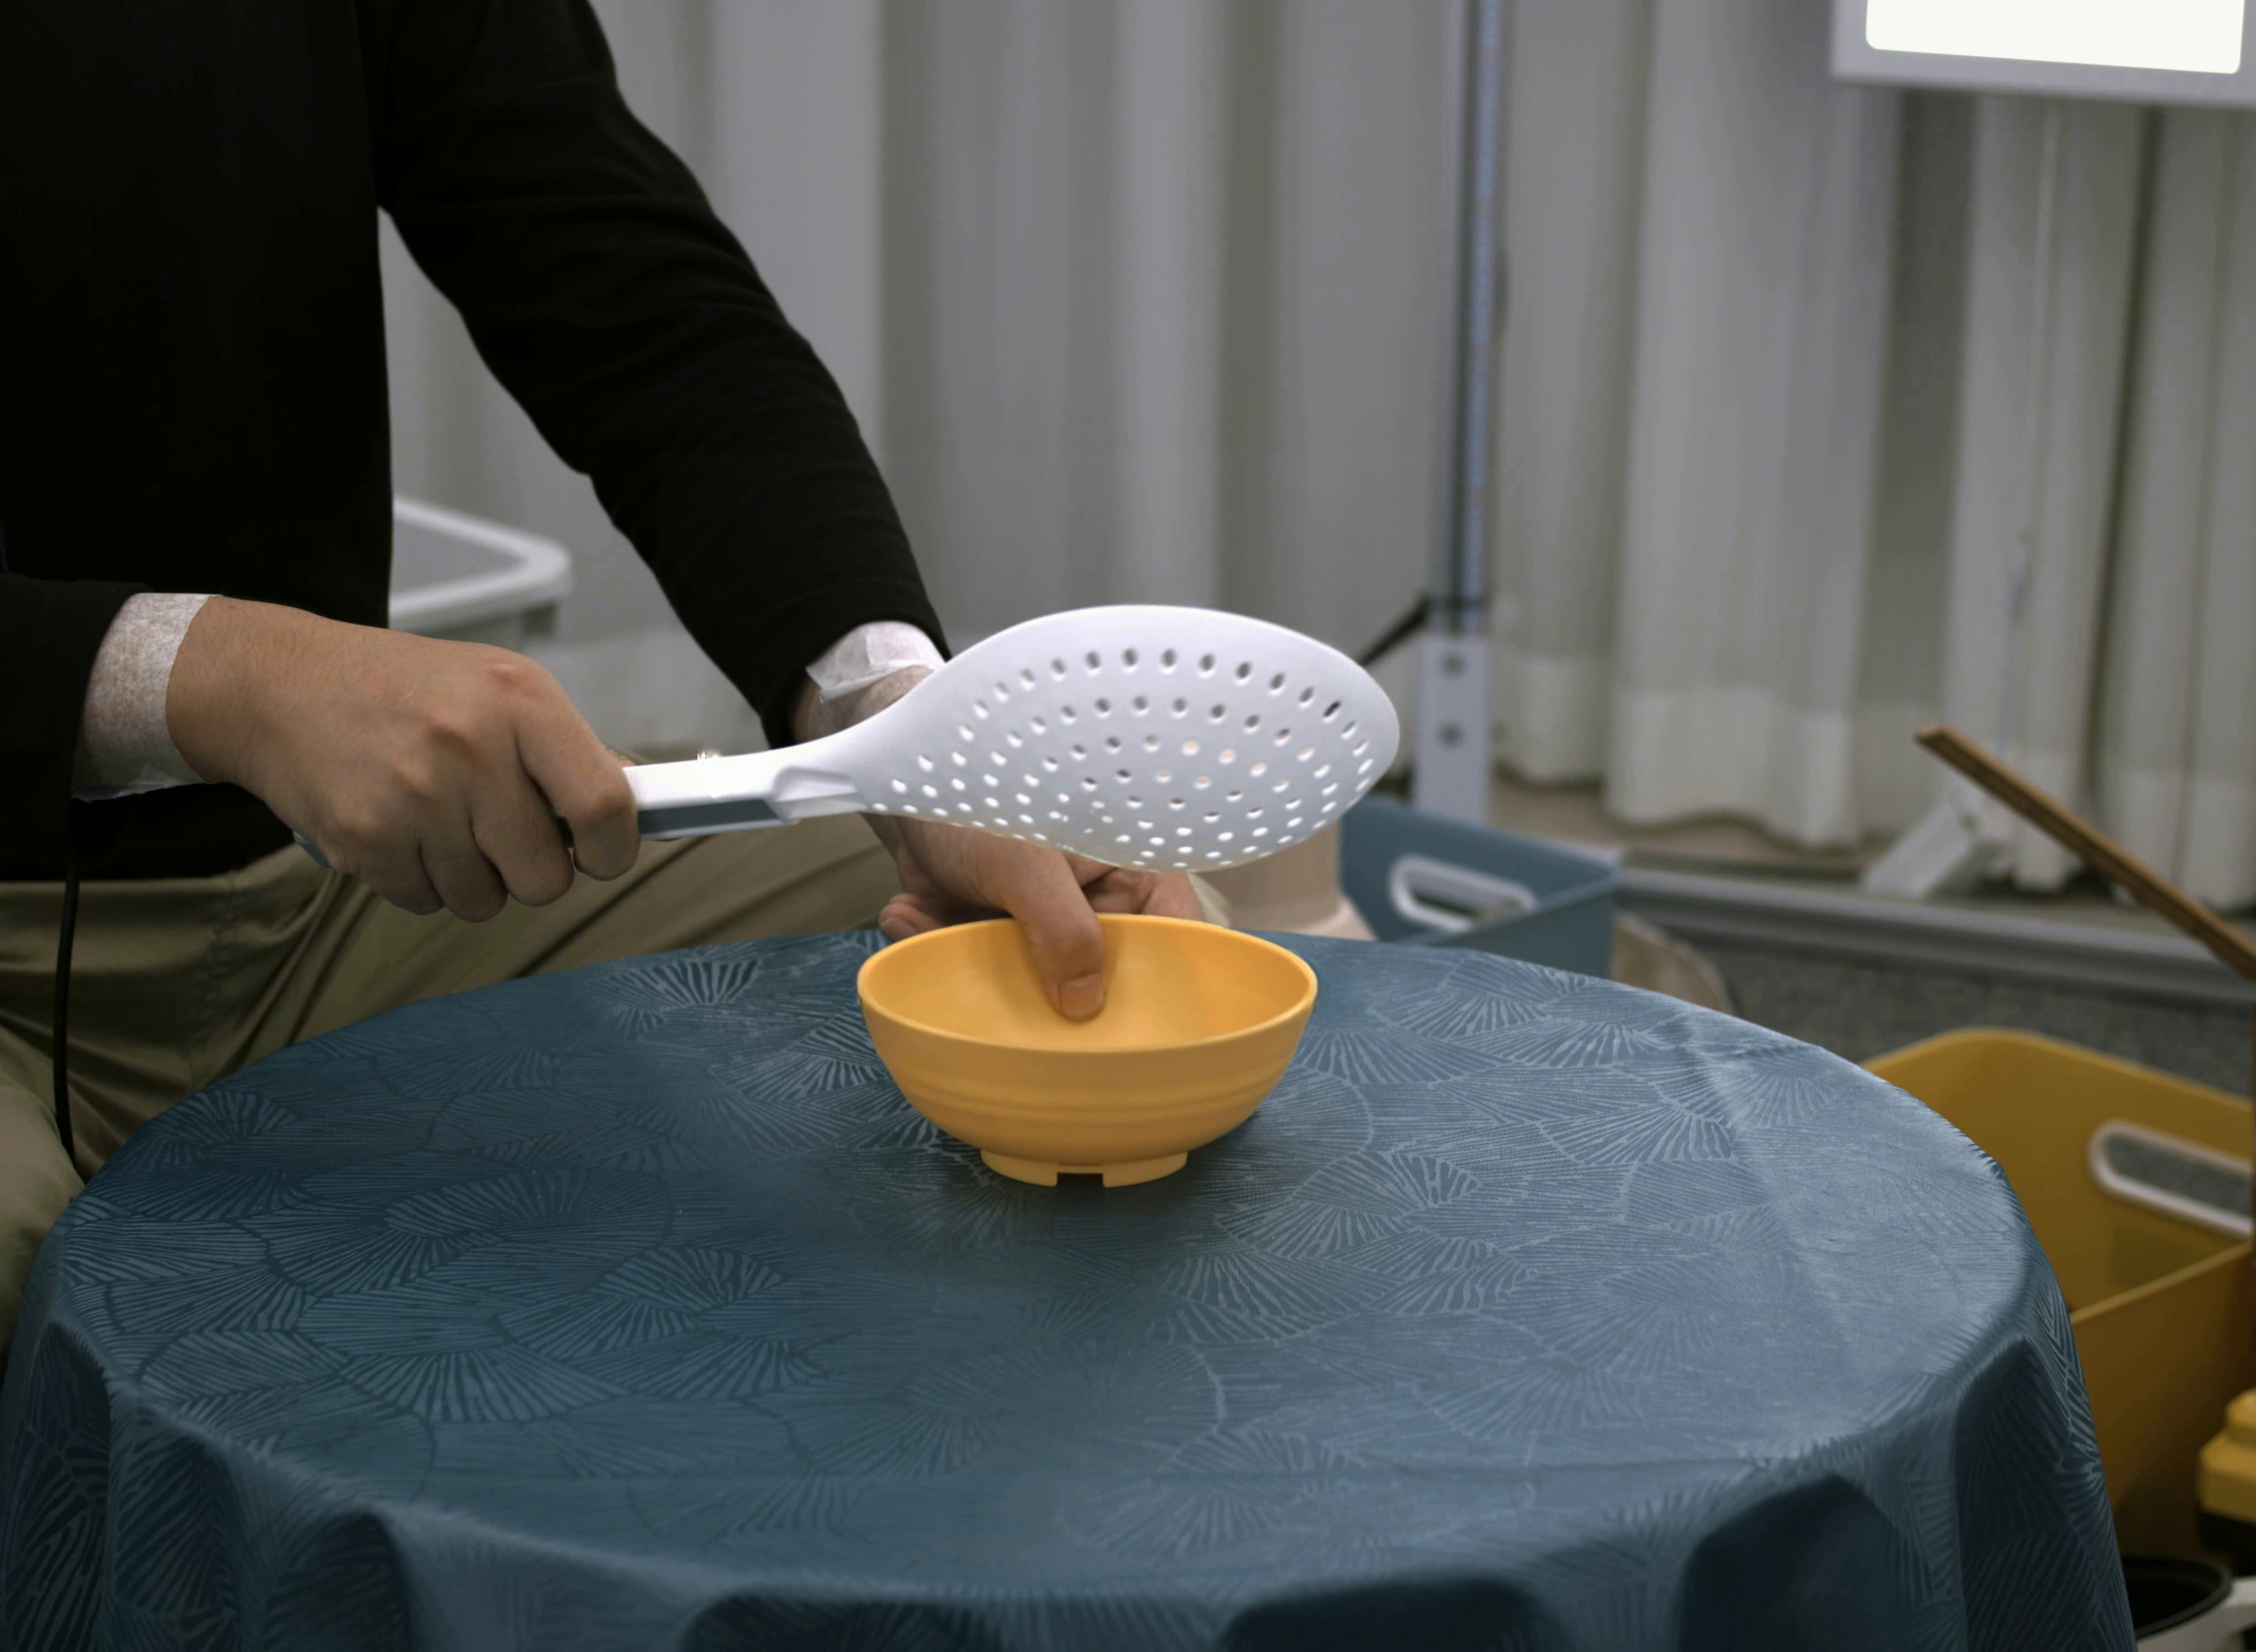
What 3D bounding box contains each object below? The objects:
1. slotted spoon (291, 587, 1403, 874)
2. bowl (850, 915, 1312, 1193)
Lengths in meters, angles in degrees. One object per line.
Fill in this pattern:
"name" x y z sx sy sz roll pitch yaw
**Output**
"slotted spoon" -0.089 -0.015 1.569 0.347 0.138 0.045 -2 60 19
"bowl" -0.016 0.076 1.645 0.145 0.060 0.144 3 16 0
